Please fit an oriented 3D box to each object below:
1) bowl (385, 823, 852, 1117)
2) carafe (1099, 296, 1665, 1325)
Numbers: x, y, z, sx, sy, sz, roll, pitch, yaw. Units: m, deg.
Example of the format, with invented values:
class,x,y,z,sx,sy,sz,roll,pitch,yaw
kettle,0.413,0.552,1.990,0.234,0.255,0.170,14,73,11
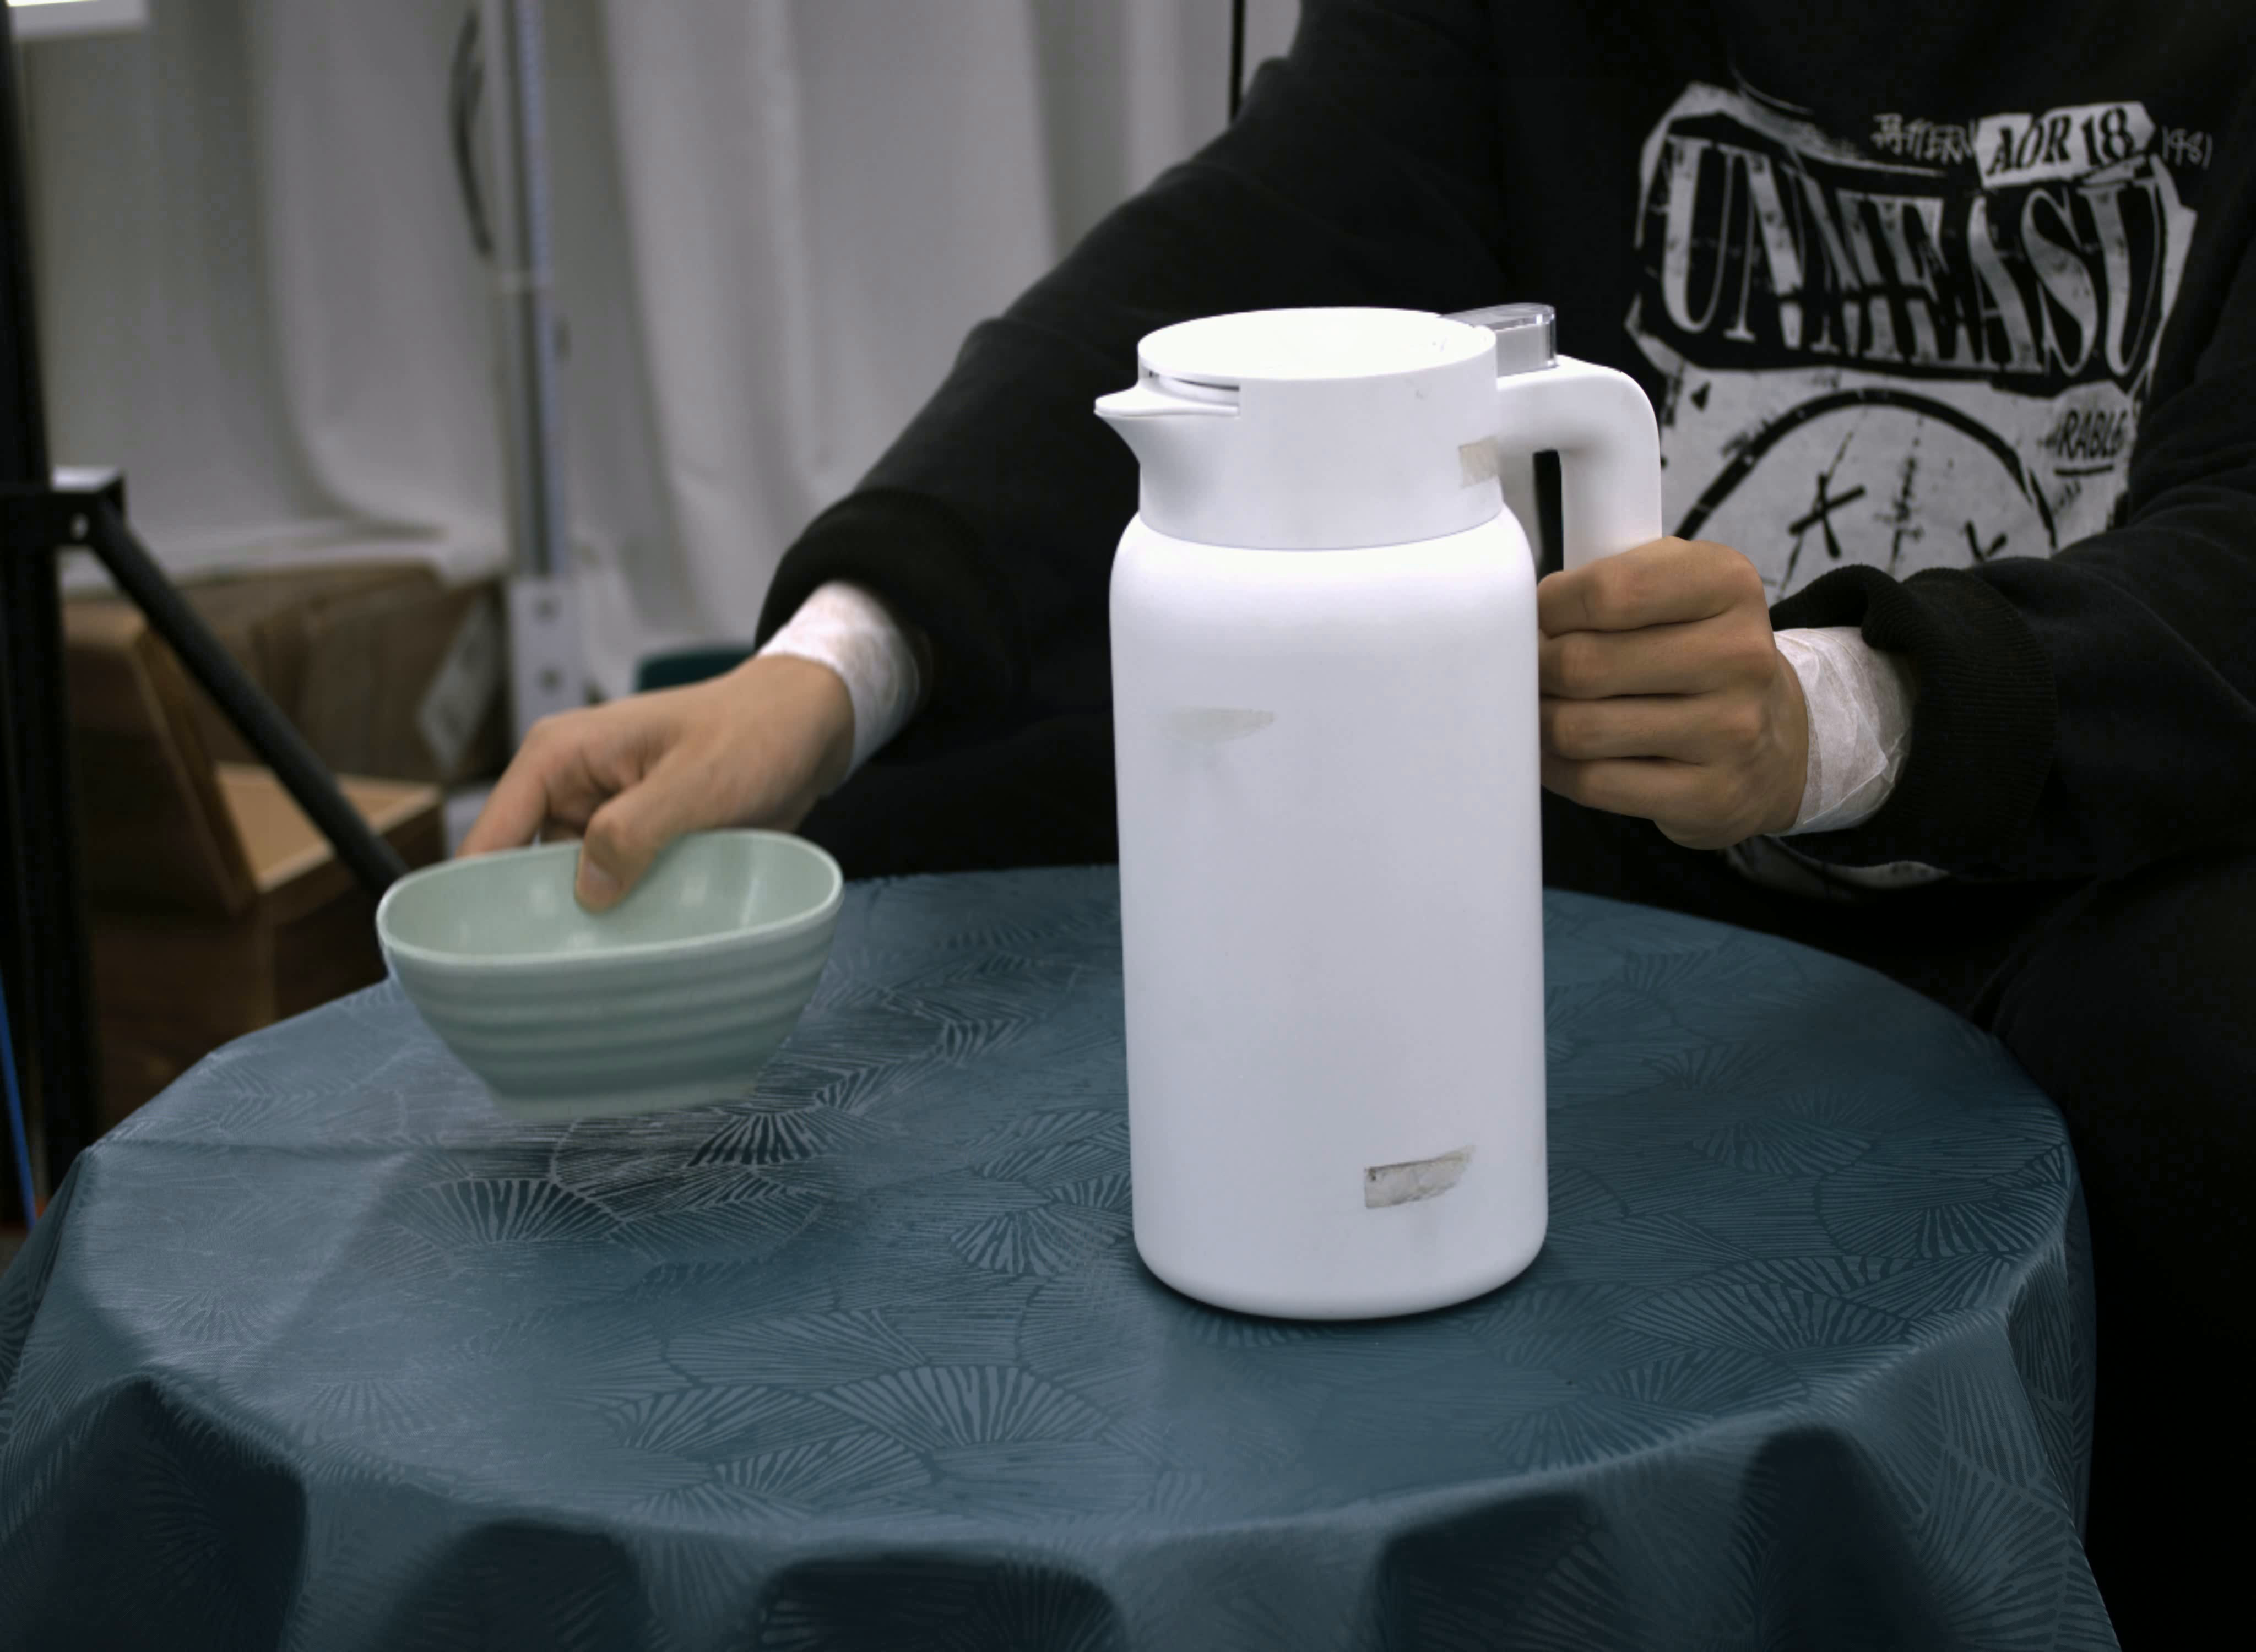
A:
class,x,y,z,sx,sy,sz,roll,pitch,yaw
bowl,-0.150,0.045,1.591,0.151,0.058,0.152,-4,14,0
carafe,0.071,-0.008,1.466,0.169,0.269,0.126,-11,15,-28
